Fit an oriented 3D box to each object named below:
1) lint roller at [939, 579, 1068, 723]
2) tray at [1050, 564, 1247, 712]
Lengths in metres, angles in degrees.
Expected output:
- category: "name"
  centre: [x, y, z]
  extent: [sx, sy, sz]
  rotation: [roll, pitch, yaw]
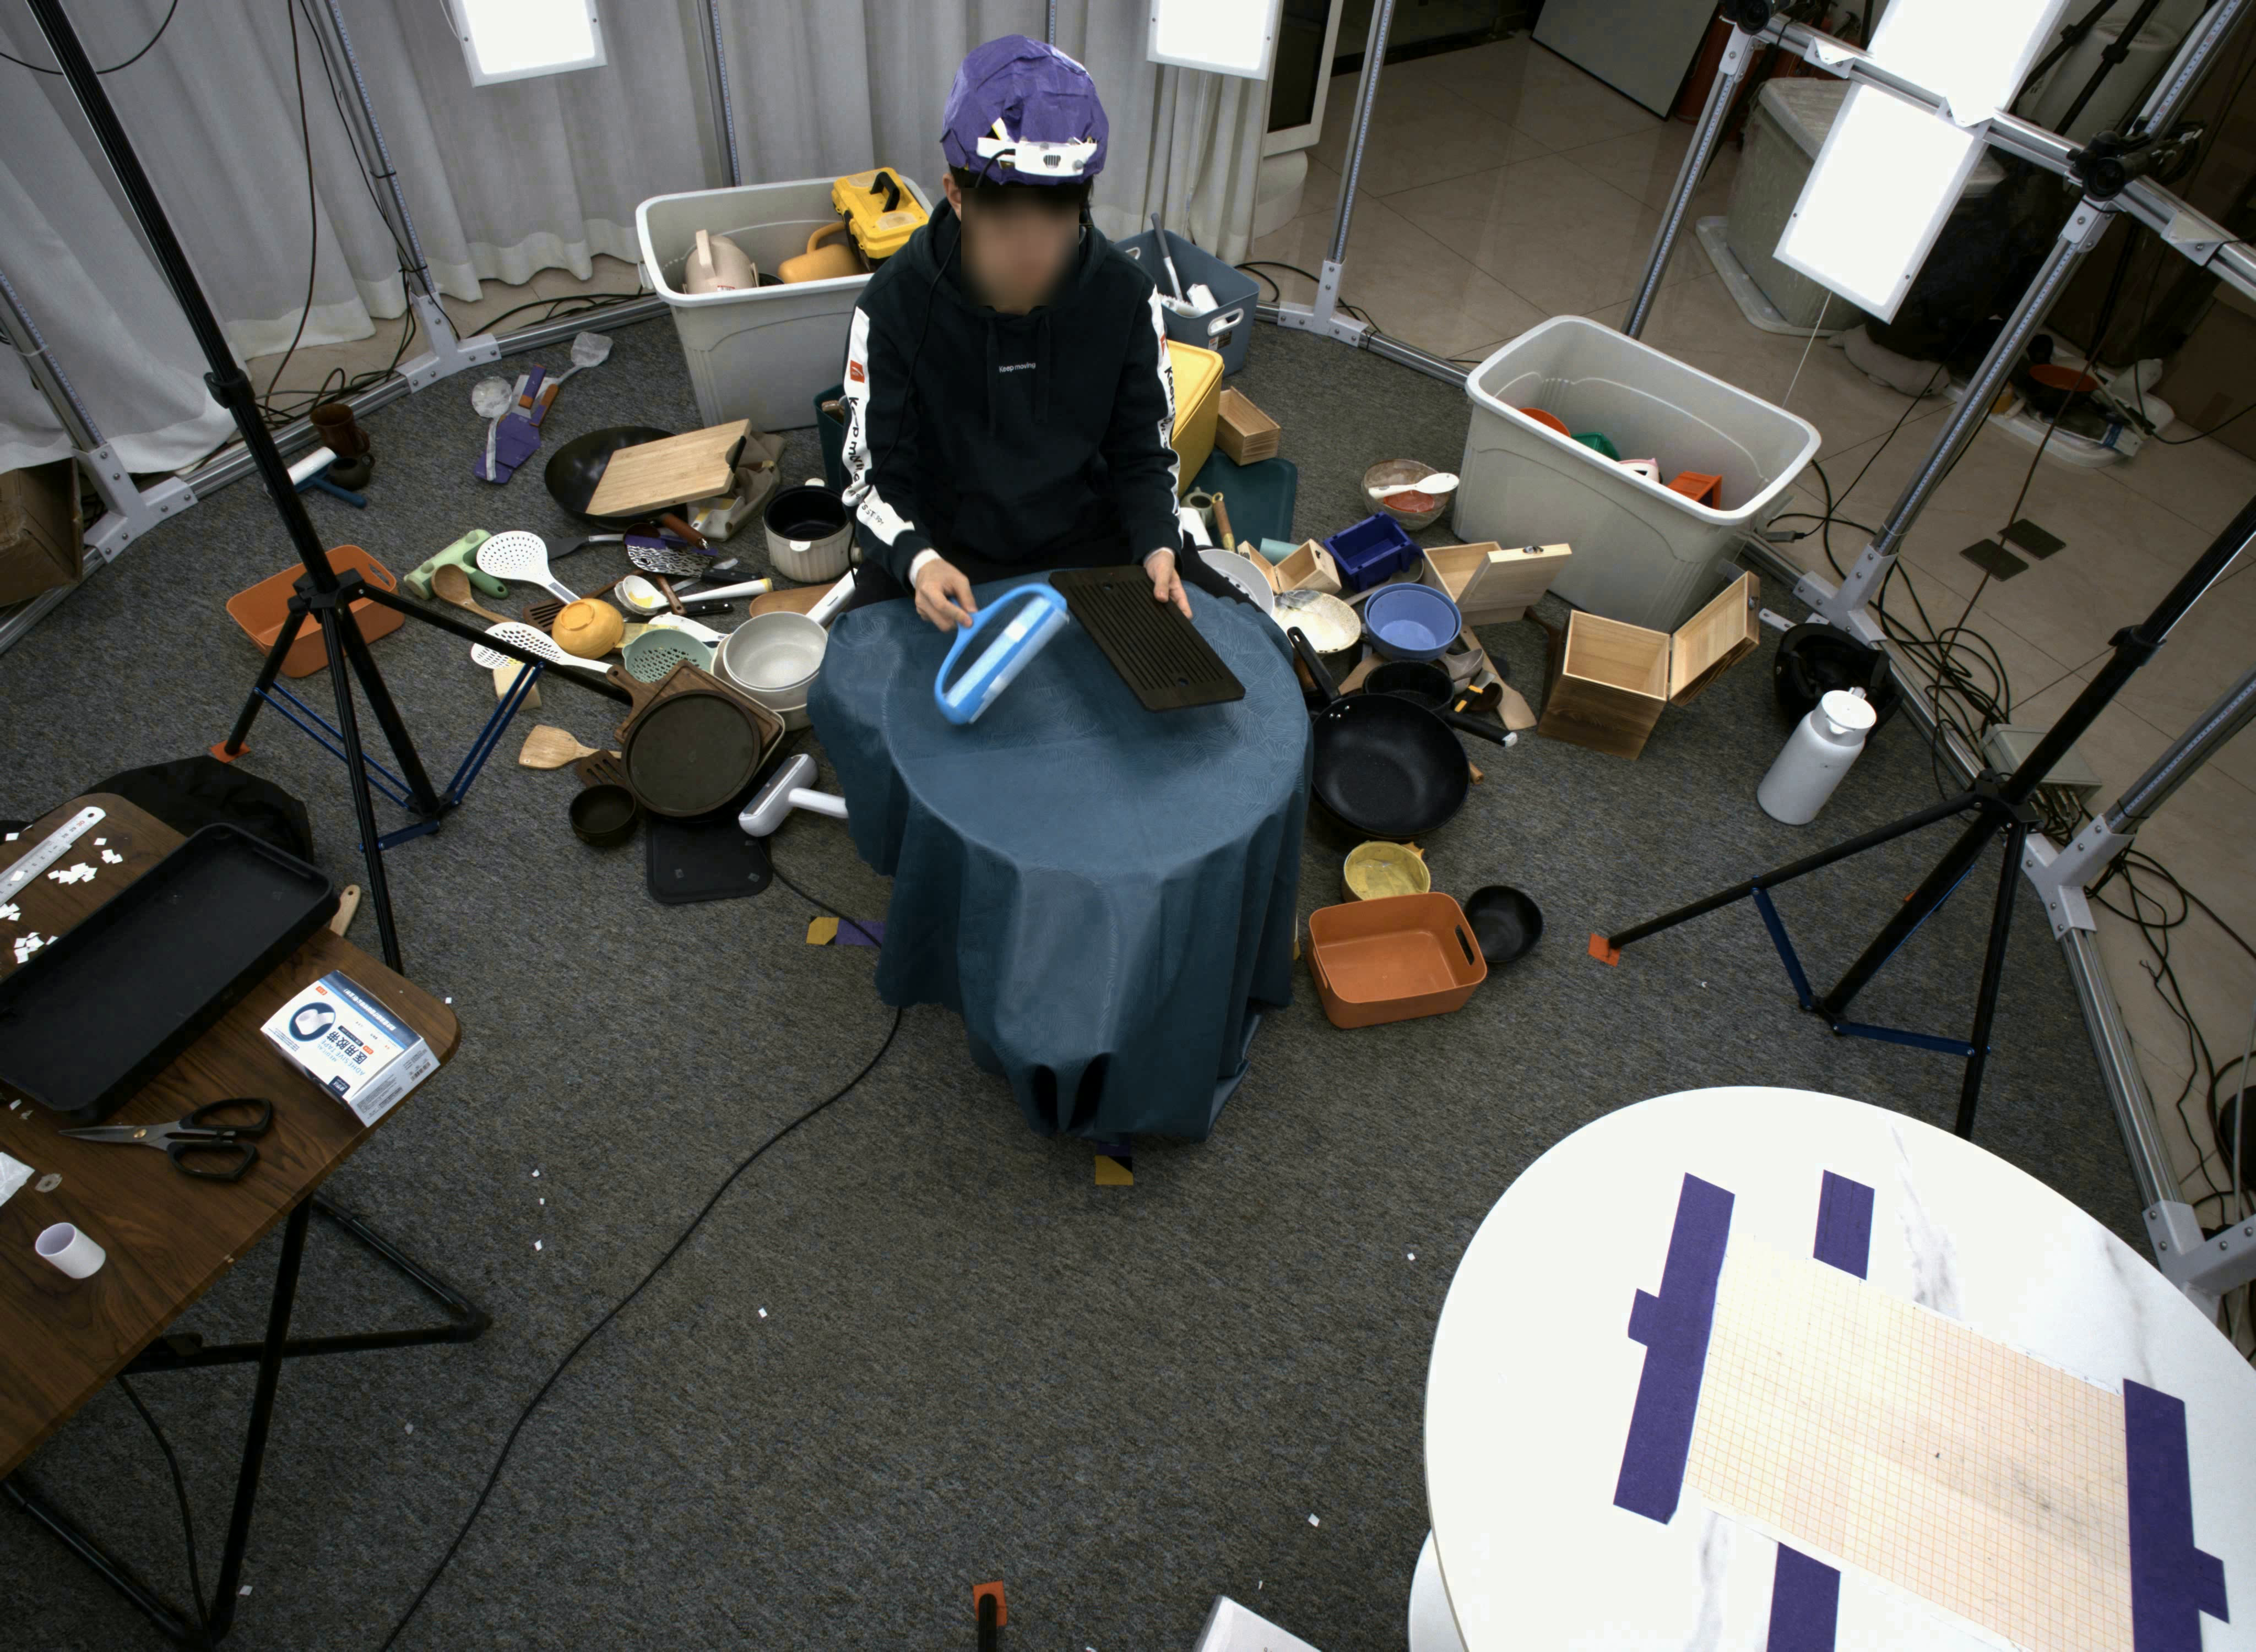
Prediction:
- category: "lint roller"
  centre: [-0.206, -0.270, 1.763]
  extent: [0.182, 0.067, 0.228]
  rotation: [39, 94, 20]
- category: "tray"
  centre: [0.025, -0.270, 1.819]
  extent: [0.170, 0.018, 0.312]
  rotation: [-11, 50, -31]
